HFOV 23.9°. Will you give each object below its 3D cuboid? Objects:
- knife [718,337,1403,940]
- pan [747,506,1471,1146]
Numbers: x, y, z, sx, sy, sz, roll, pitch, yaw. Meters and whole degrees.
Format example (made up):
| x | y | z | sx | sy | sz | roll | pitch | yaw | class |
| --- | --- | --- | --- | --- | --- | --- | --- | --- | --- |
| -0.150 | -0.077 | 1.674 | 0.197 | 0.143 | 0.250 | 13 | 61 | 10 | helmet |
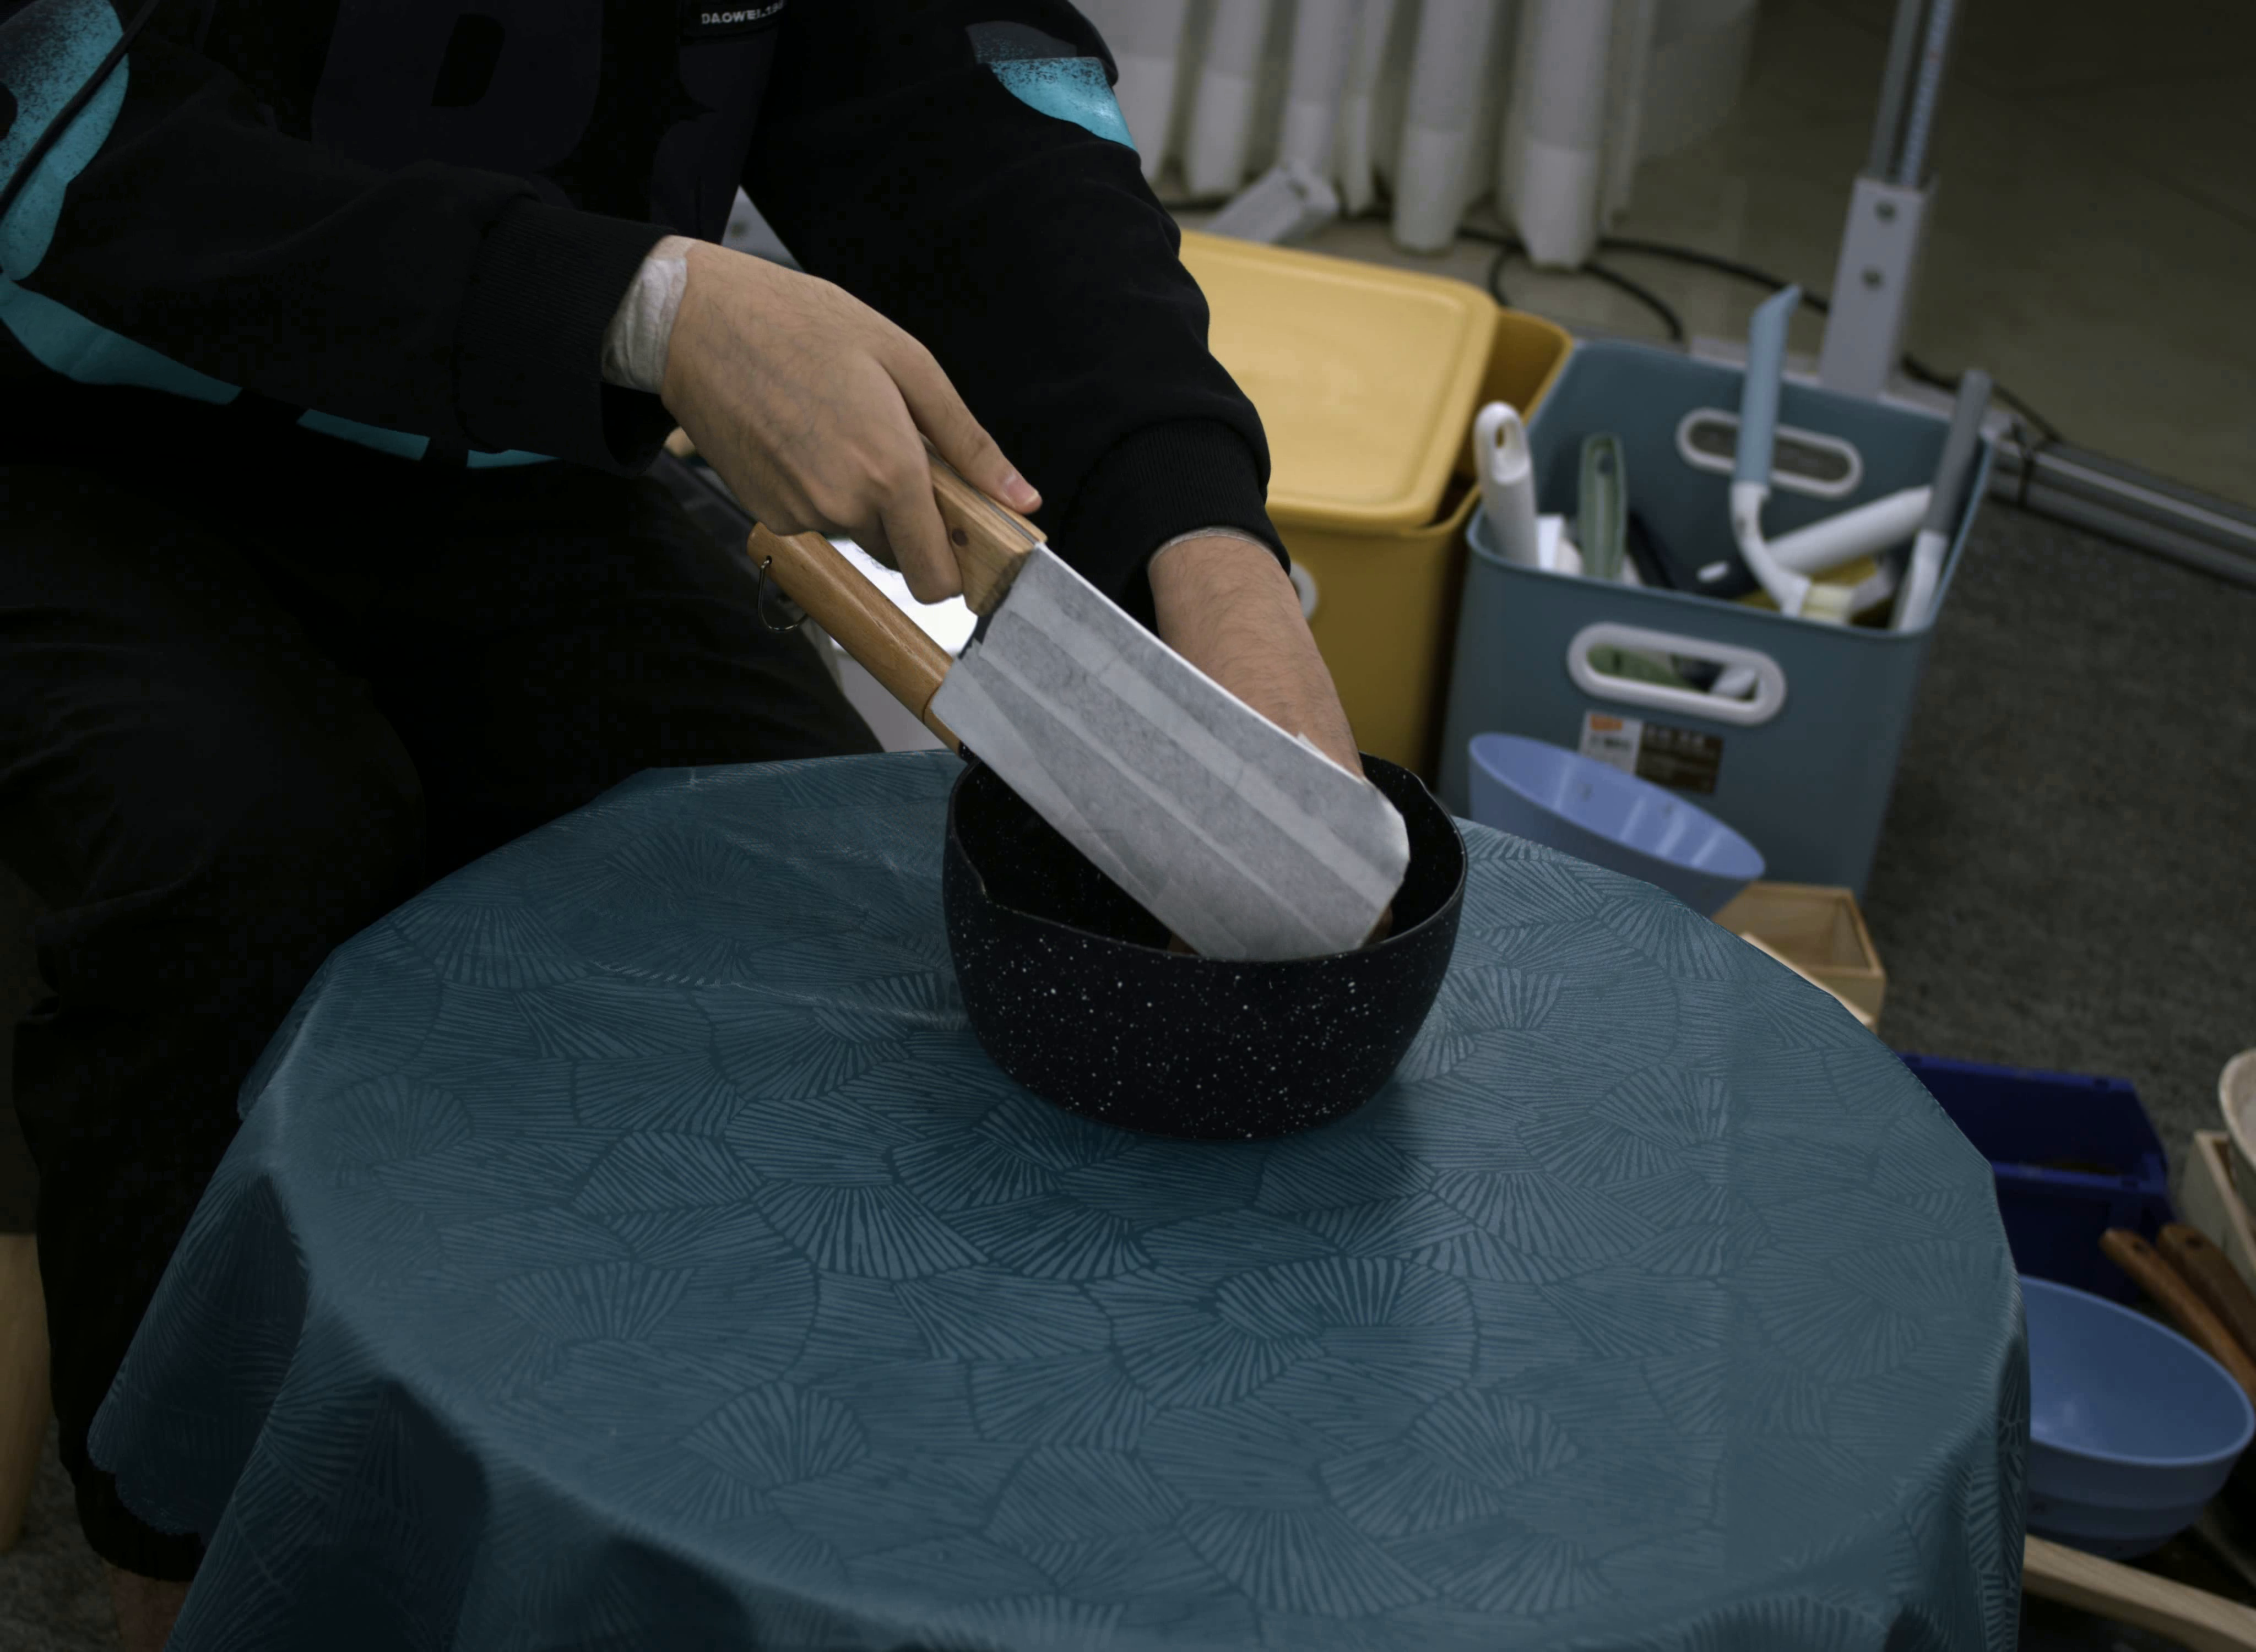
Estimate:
| x | y | z | sx | sy | sz | roll | pitch | yaw | class |
| --- | --- | --- | --- | --- | --- | --- | --- | --- | --- |
| -0.027 | -0.061 | 1.859 | 0.317 | 0.114 | 0.021 | 43 | 37 | 14 | knife |
| -0.029 | -0.004 | 1.925 | 0.206 | 0.108 | 0.345 | -20 | 38 | -40 | pan |
